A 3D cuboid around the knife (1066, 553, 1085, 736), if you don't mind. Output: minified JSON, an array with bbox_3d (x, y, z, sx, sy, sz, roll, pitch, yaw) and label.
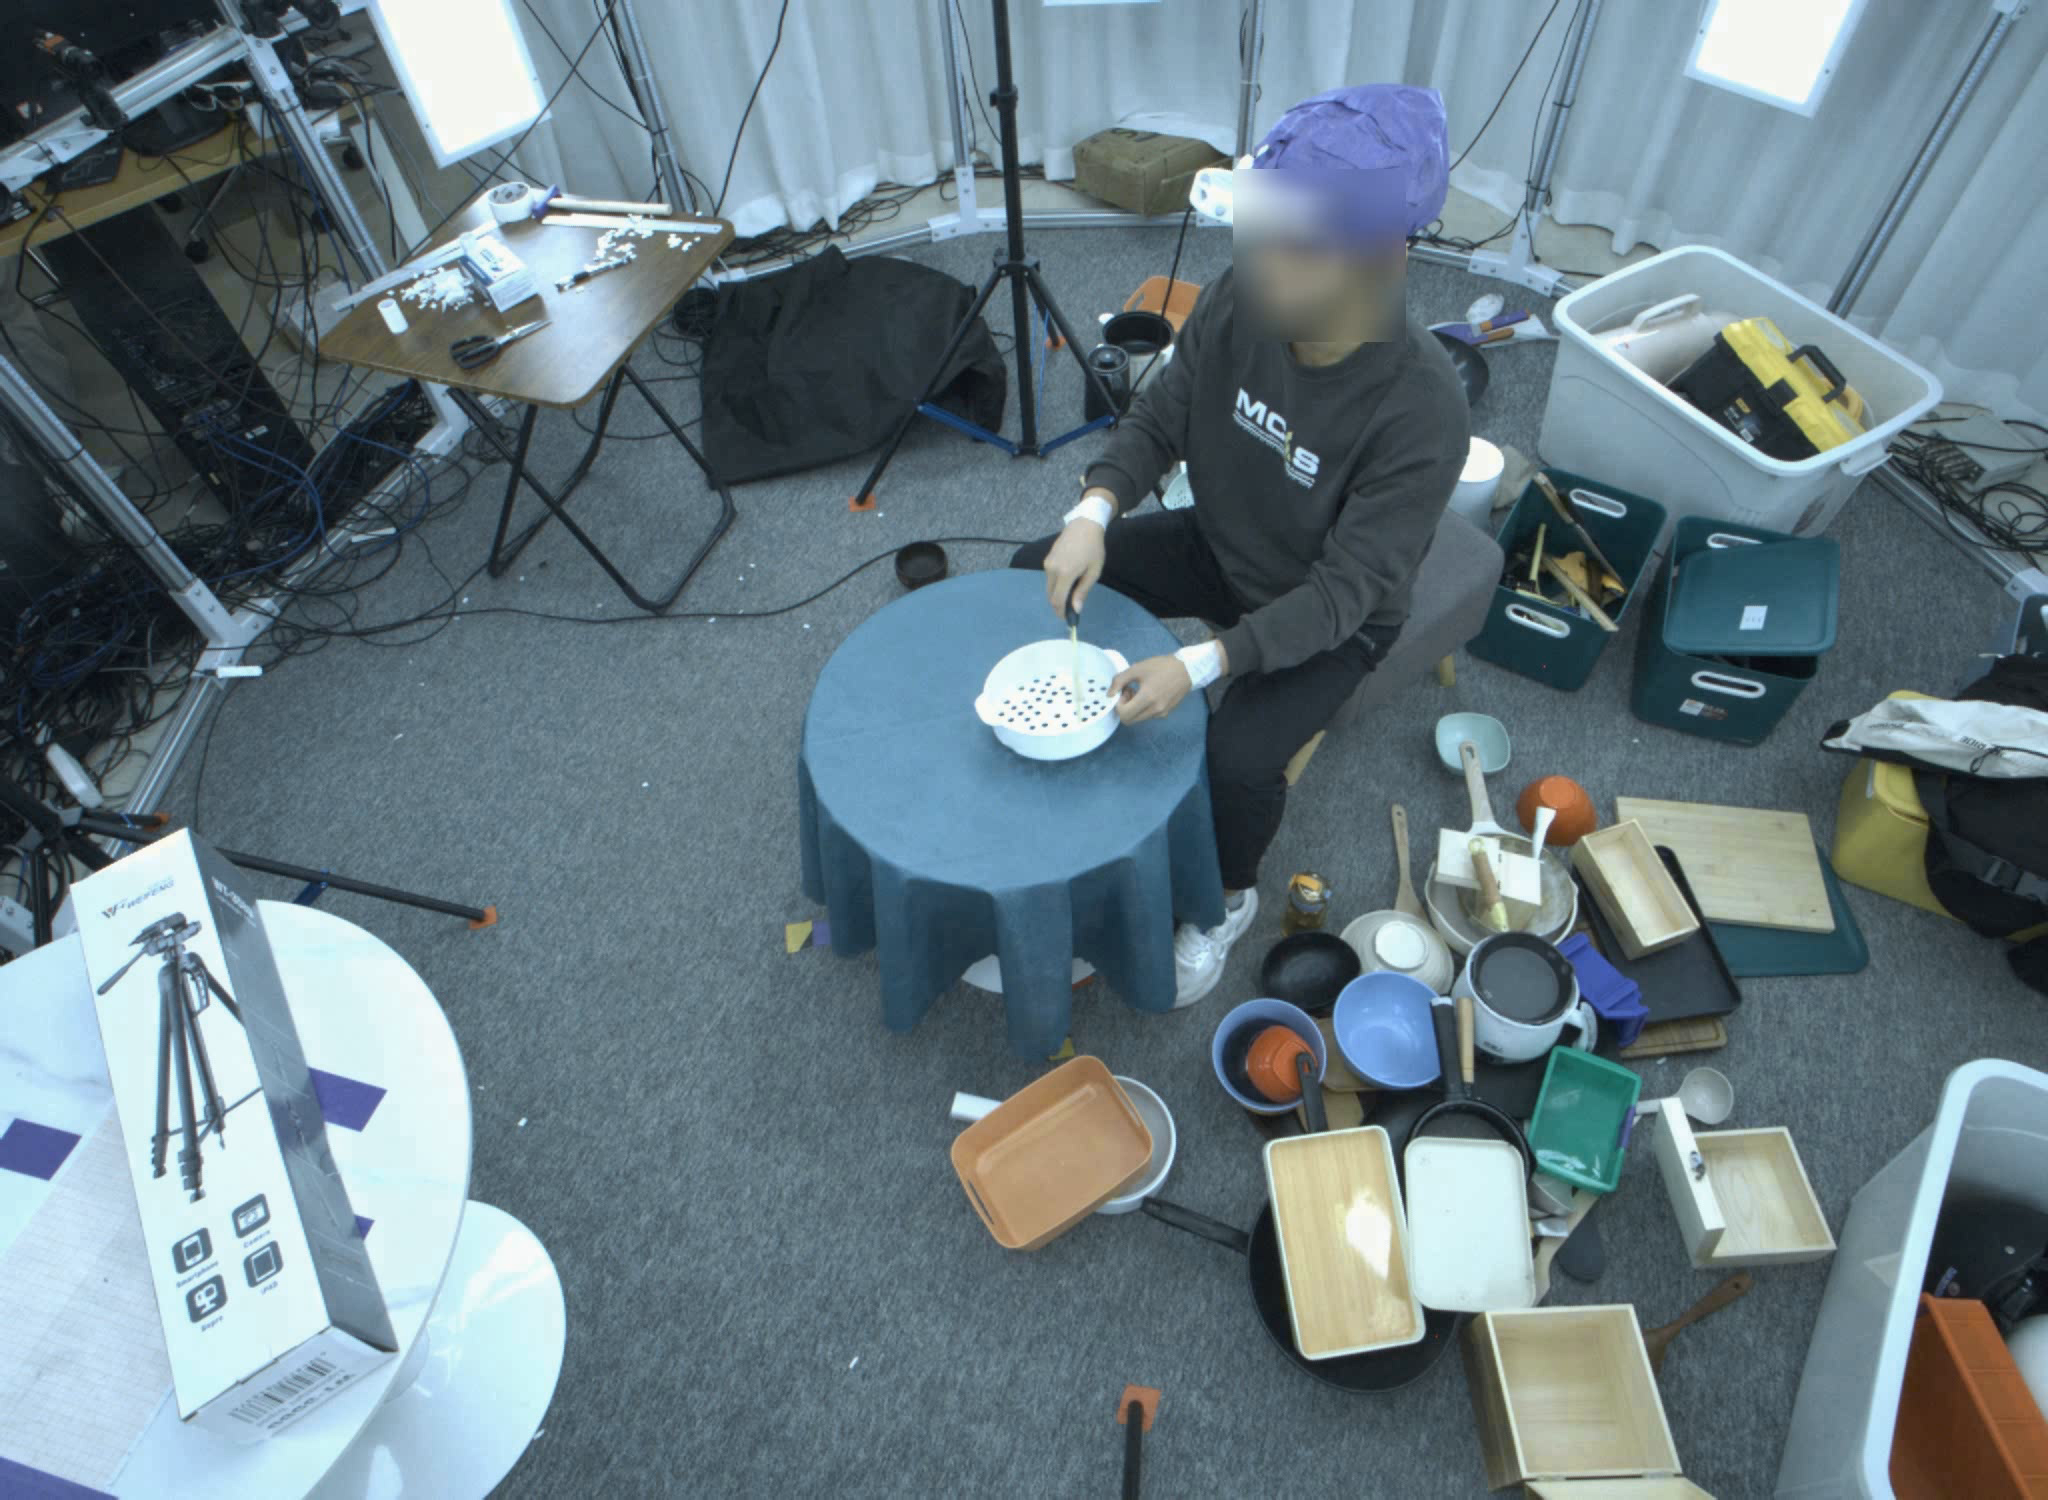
[{"bbox_3d":[0.076,-0.153,1.781,0.027,0.081,0.287,1,69,-6],"label":"knife"}]

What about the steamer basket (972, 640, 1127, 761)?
[{"bbox_3d":[0.040,-0.071,1.791,0.232,0.070,0.198,-19,47,-12],"label":"steamer basket"}]
